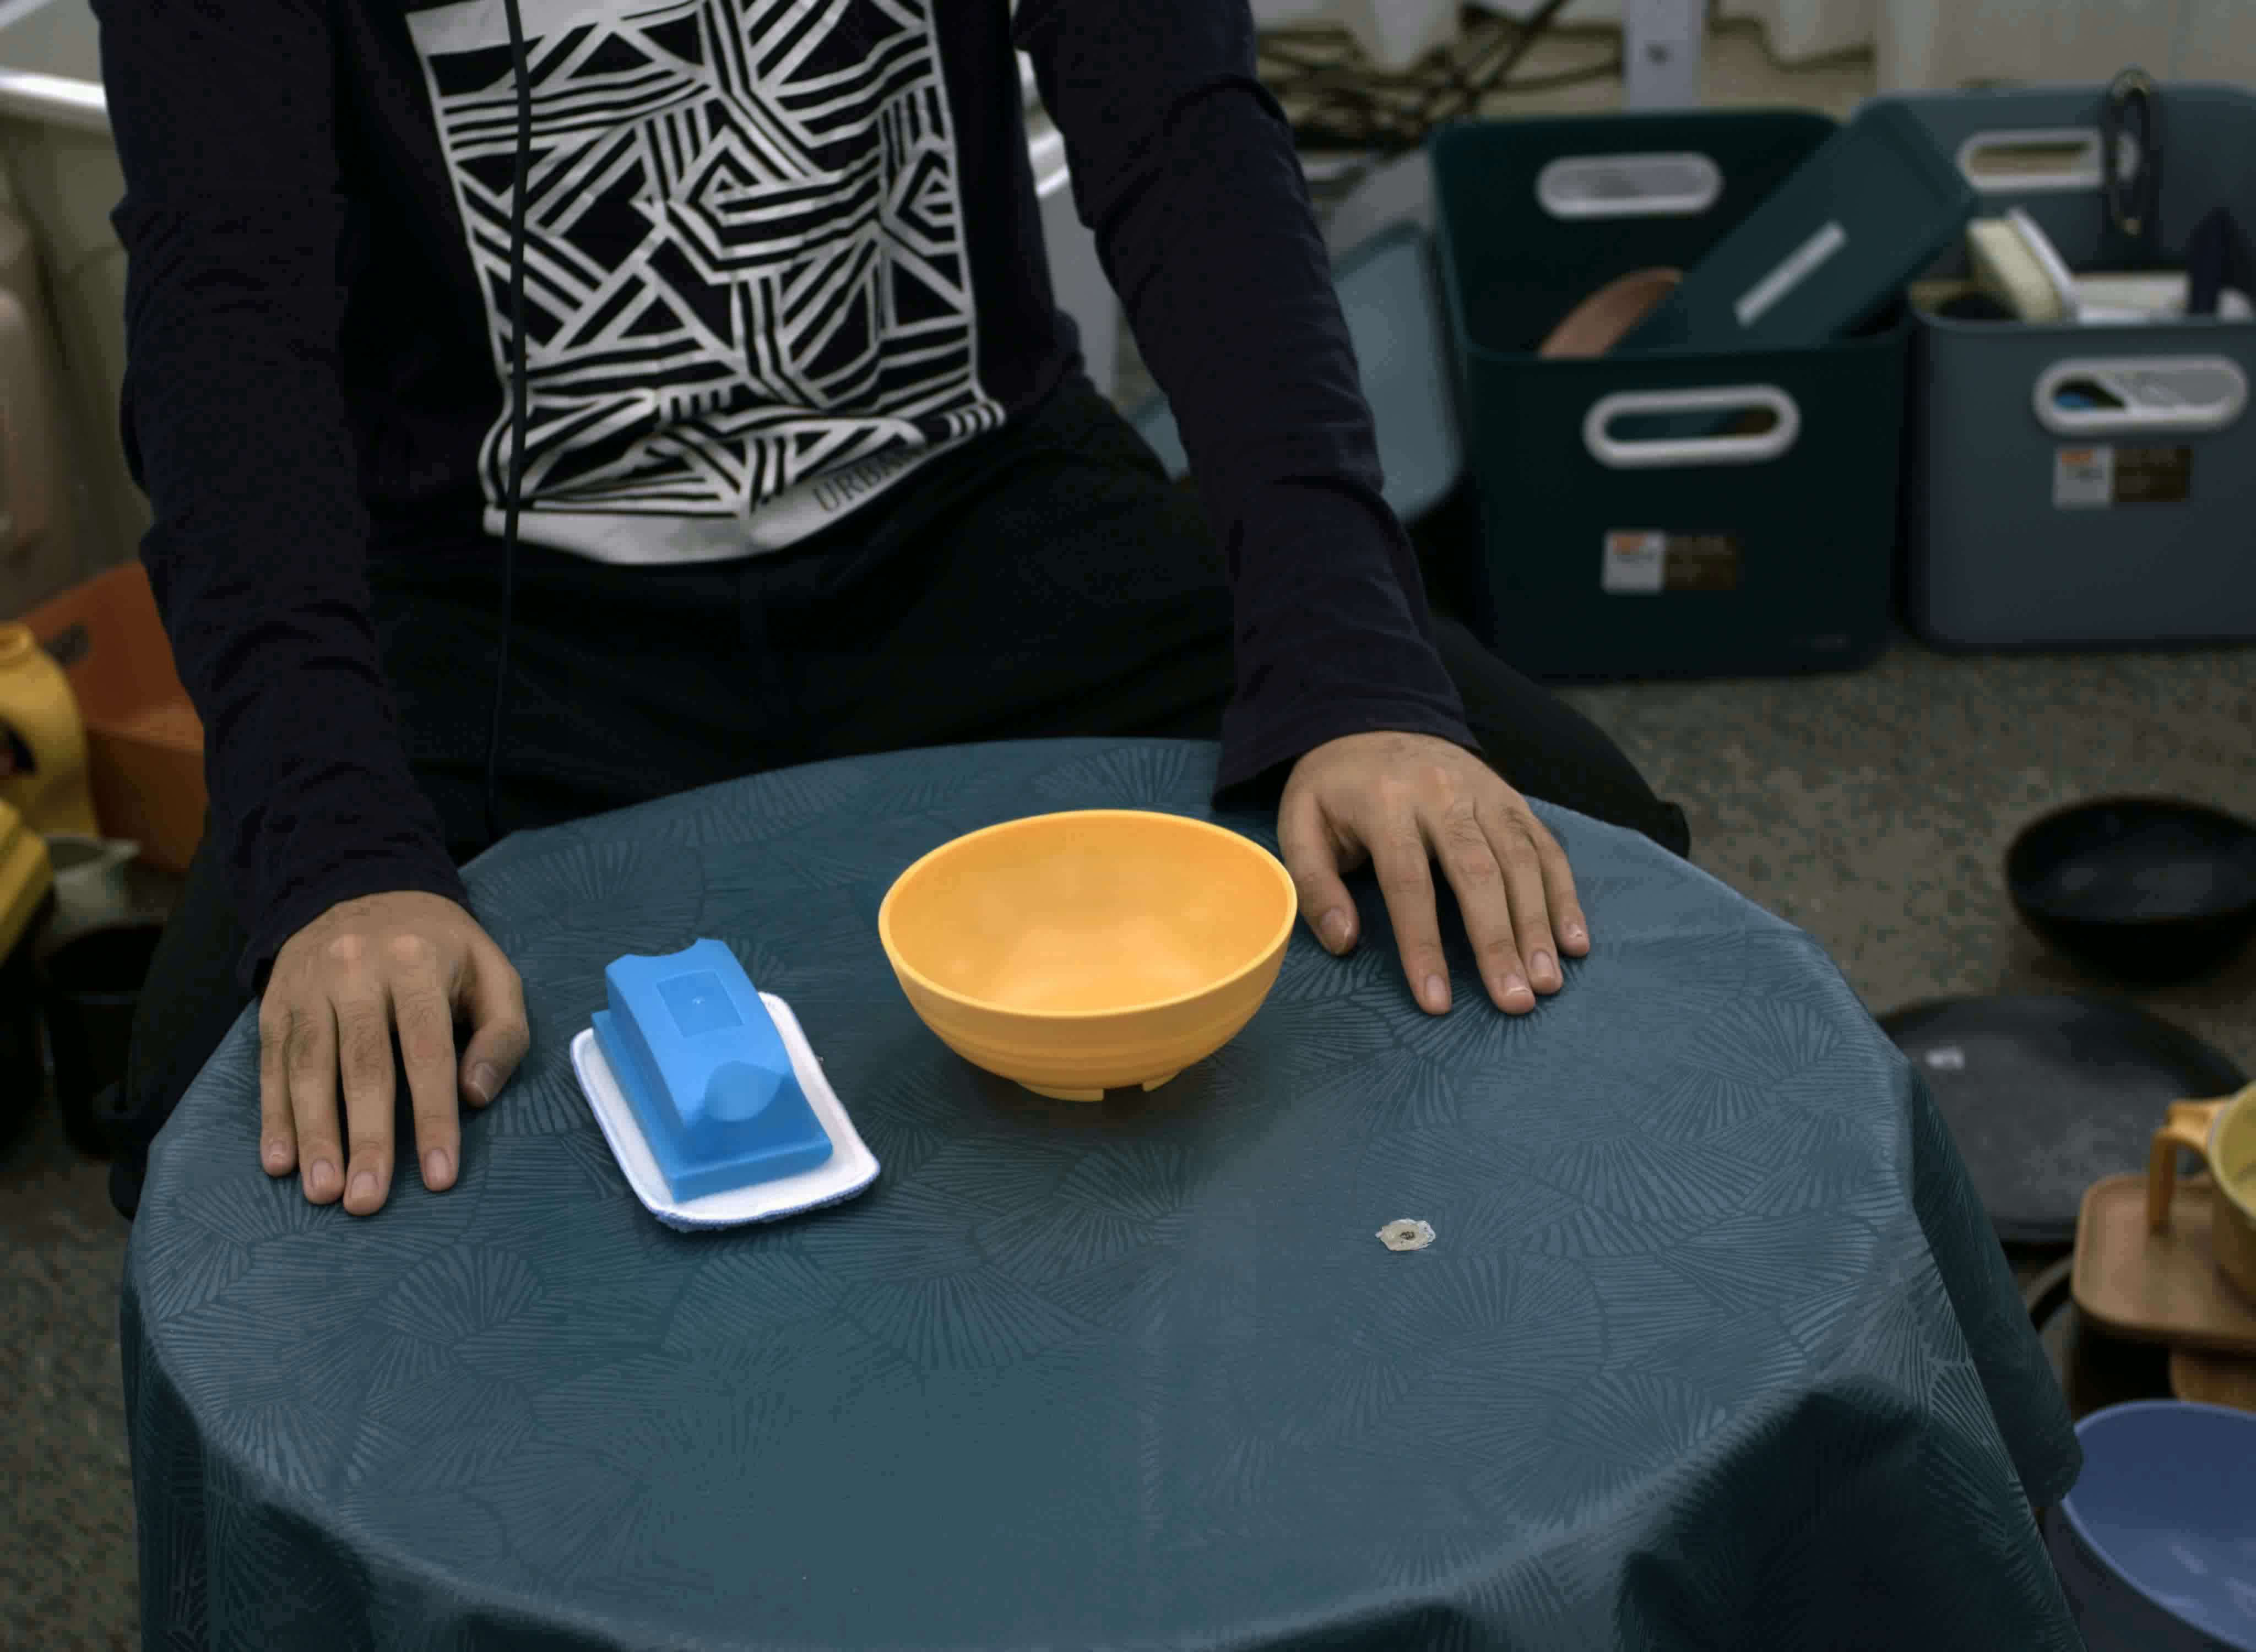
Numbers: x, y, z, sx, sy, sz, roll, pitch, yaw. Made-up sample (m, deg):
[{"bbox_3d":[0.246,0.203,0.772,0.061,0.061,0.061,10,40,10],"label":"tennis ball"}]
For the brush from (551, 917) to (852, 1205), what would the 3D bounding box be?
[{"bbox_3d":[-0.144,0.075,1.897,0.084,0.055,0.145,-7,29,-15],"label":"brush"}]

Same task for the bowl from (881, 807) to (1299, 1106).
[{"bbox_3d":[-0.012,0.054,1.930,0.144,0.059,0.147,-1,29,1],"label":"bowl"}]
